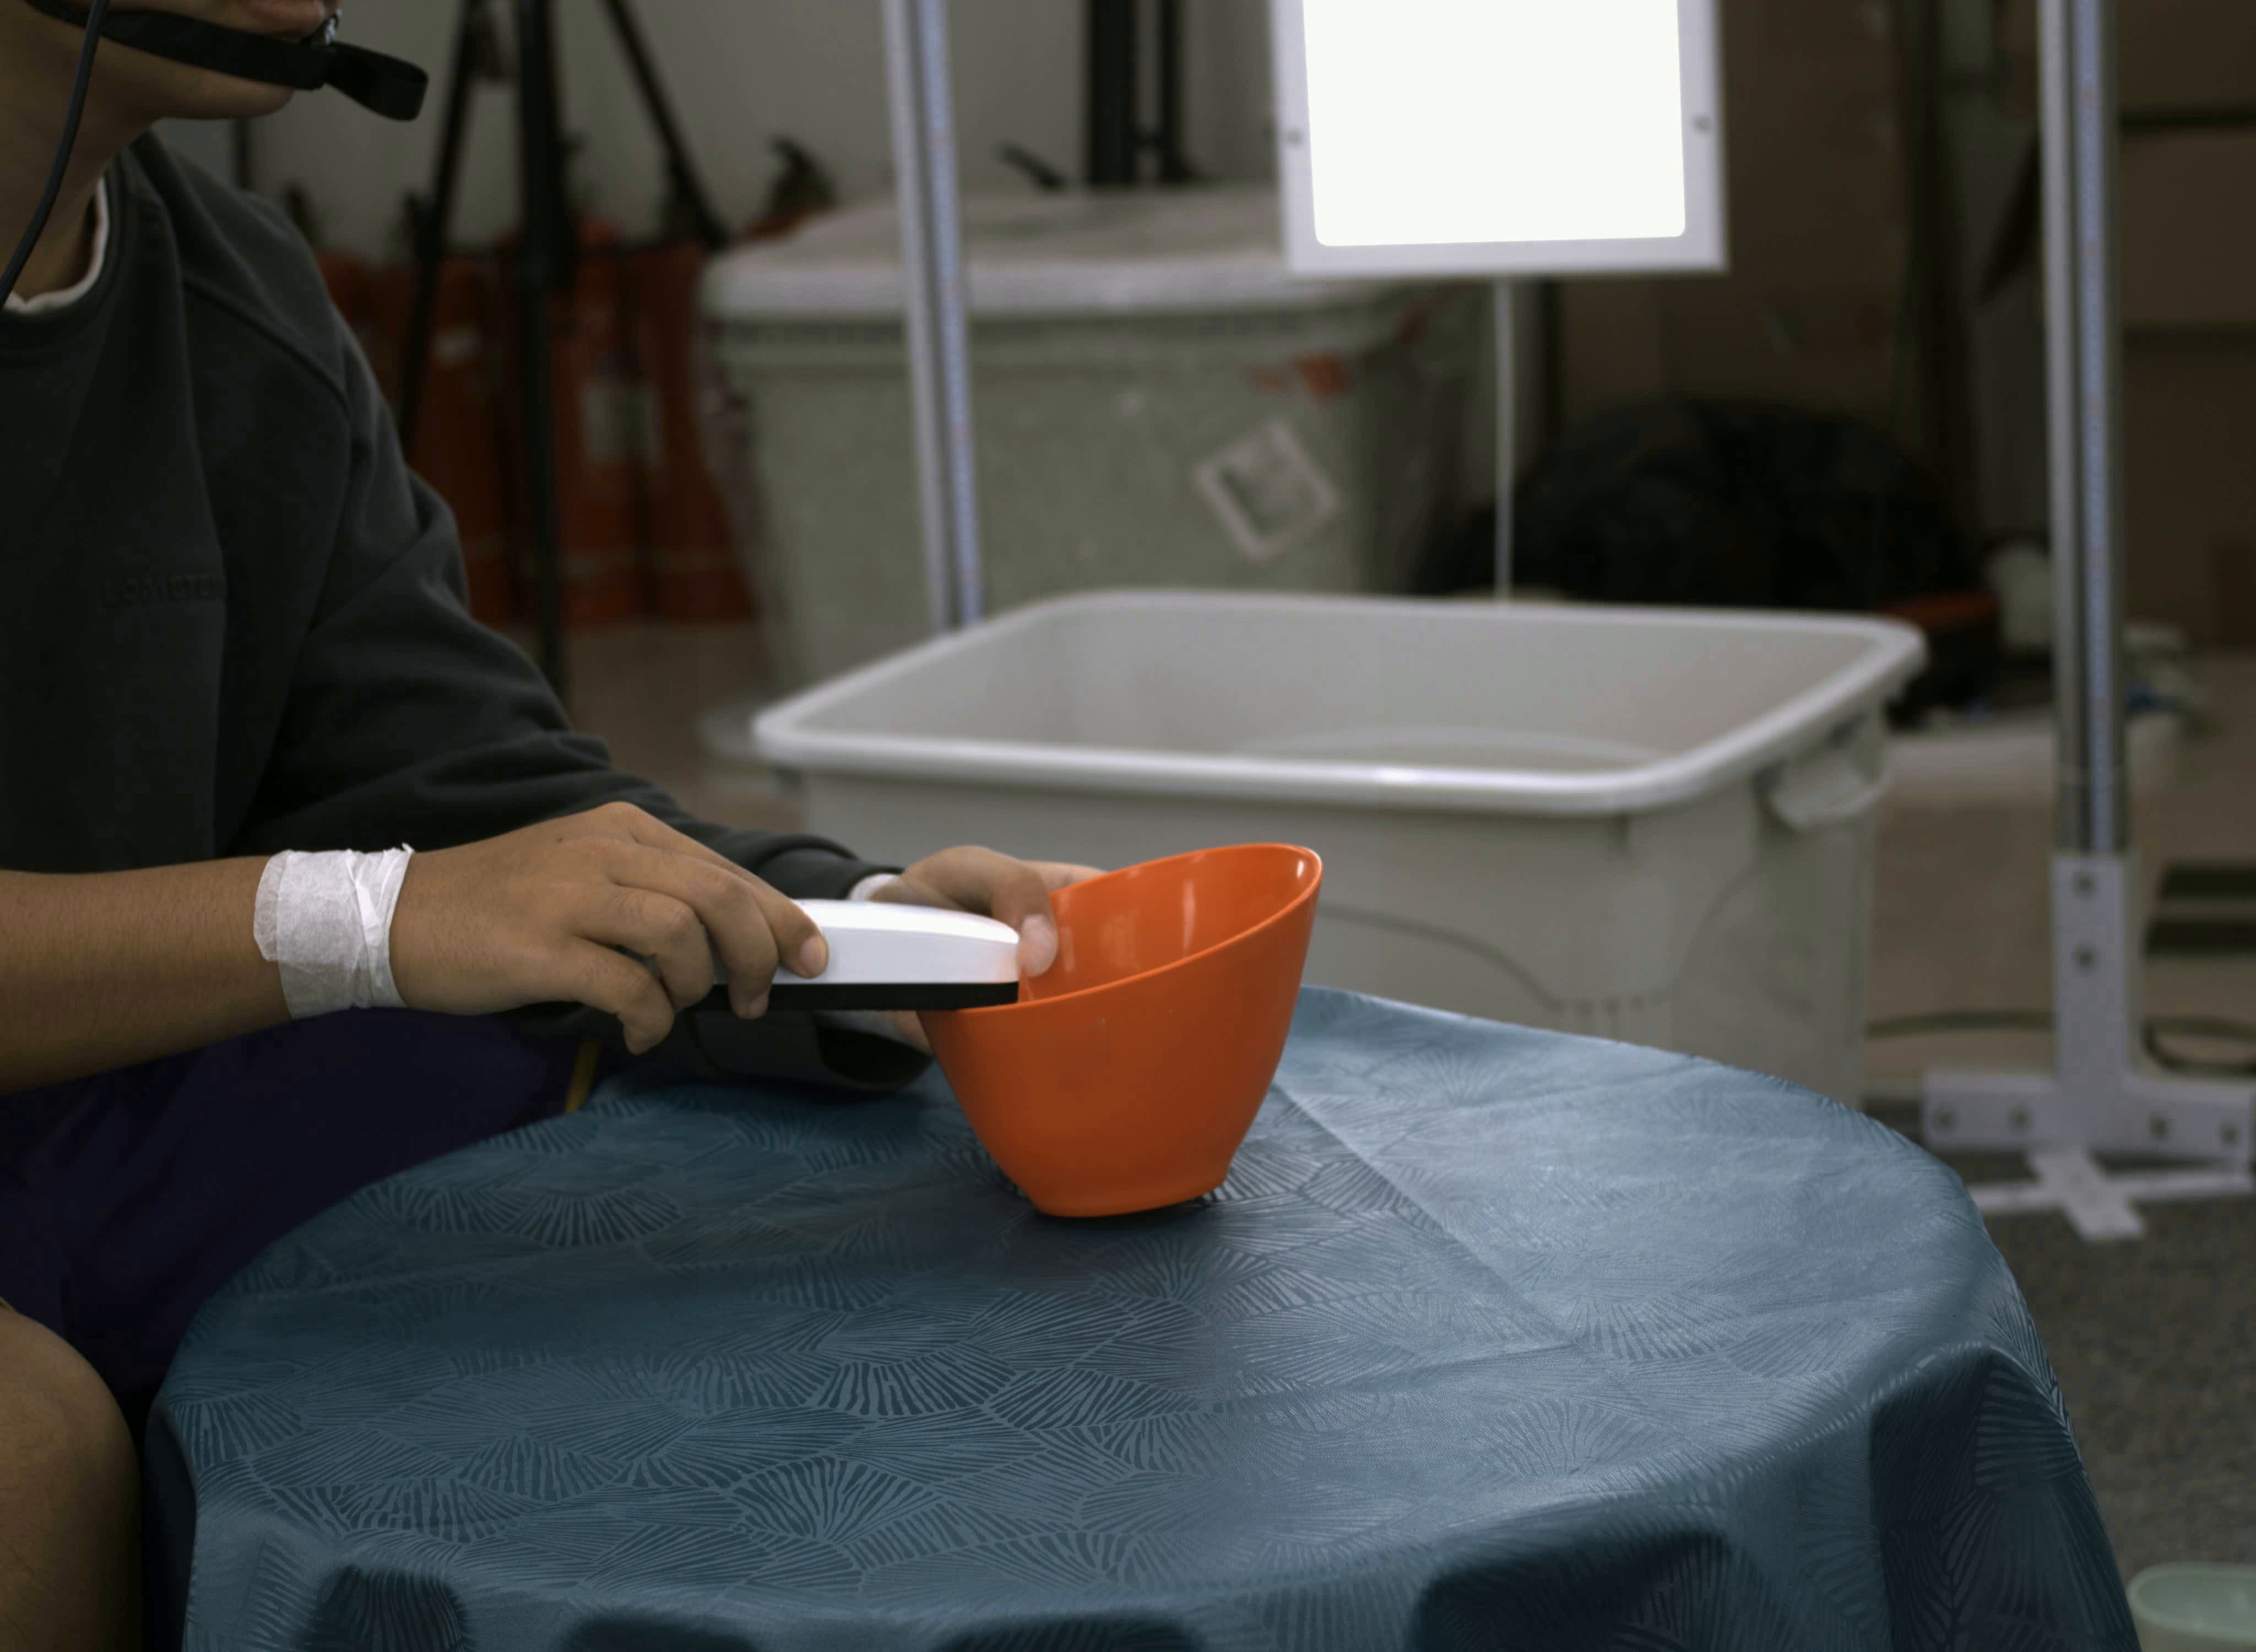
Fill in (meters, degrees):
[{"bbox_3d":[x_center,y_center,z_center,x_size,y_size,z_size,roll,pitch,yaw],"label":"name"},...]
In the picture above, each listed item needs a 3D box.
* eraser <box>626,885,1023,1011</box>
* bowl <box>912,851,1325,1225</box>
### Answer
[{"bbox_3d":[-0.103,0.041,1.855,0.130,0.034,0.064,3,6,-10],"label":"eraser"},{"bbox_3d":[0.003,0.075,1.881,0.147,0.105,0.148,-10,8,0],"label":"bowl"}]
